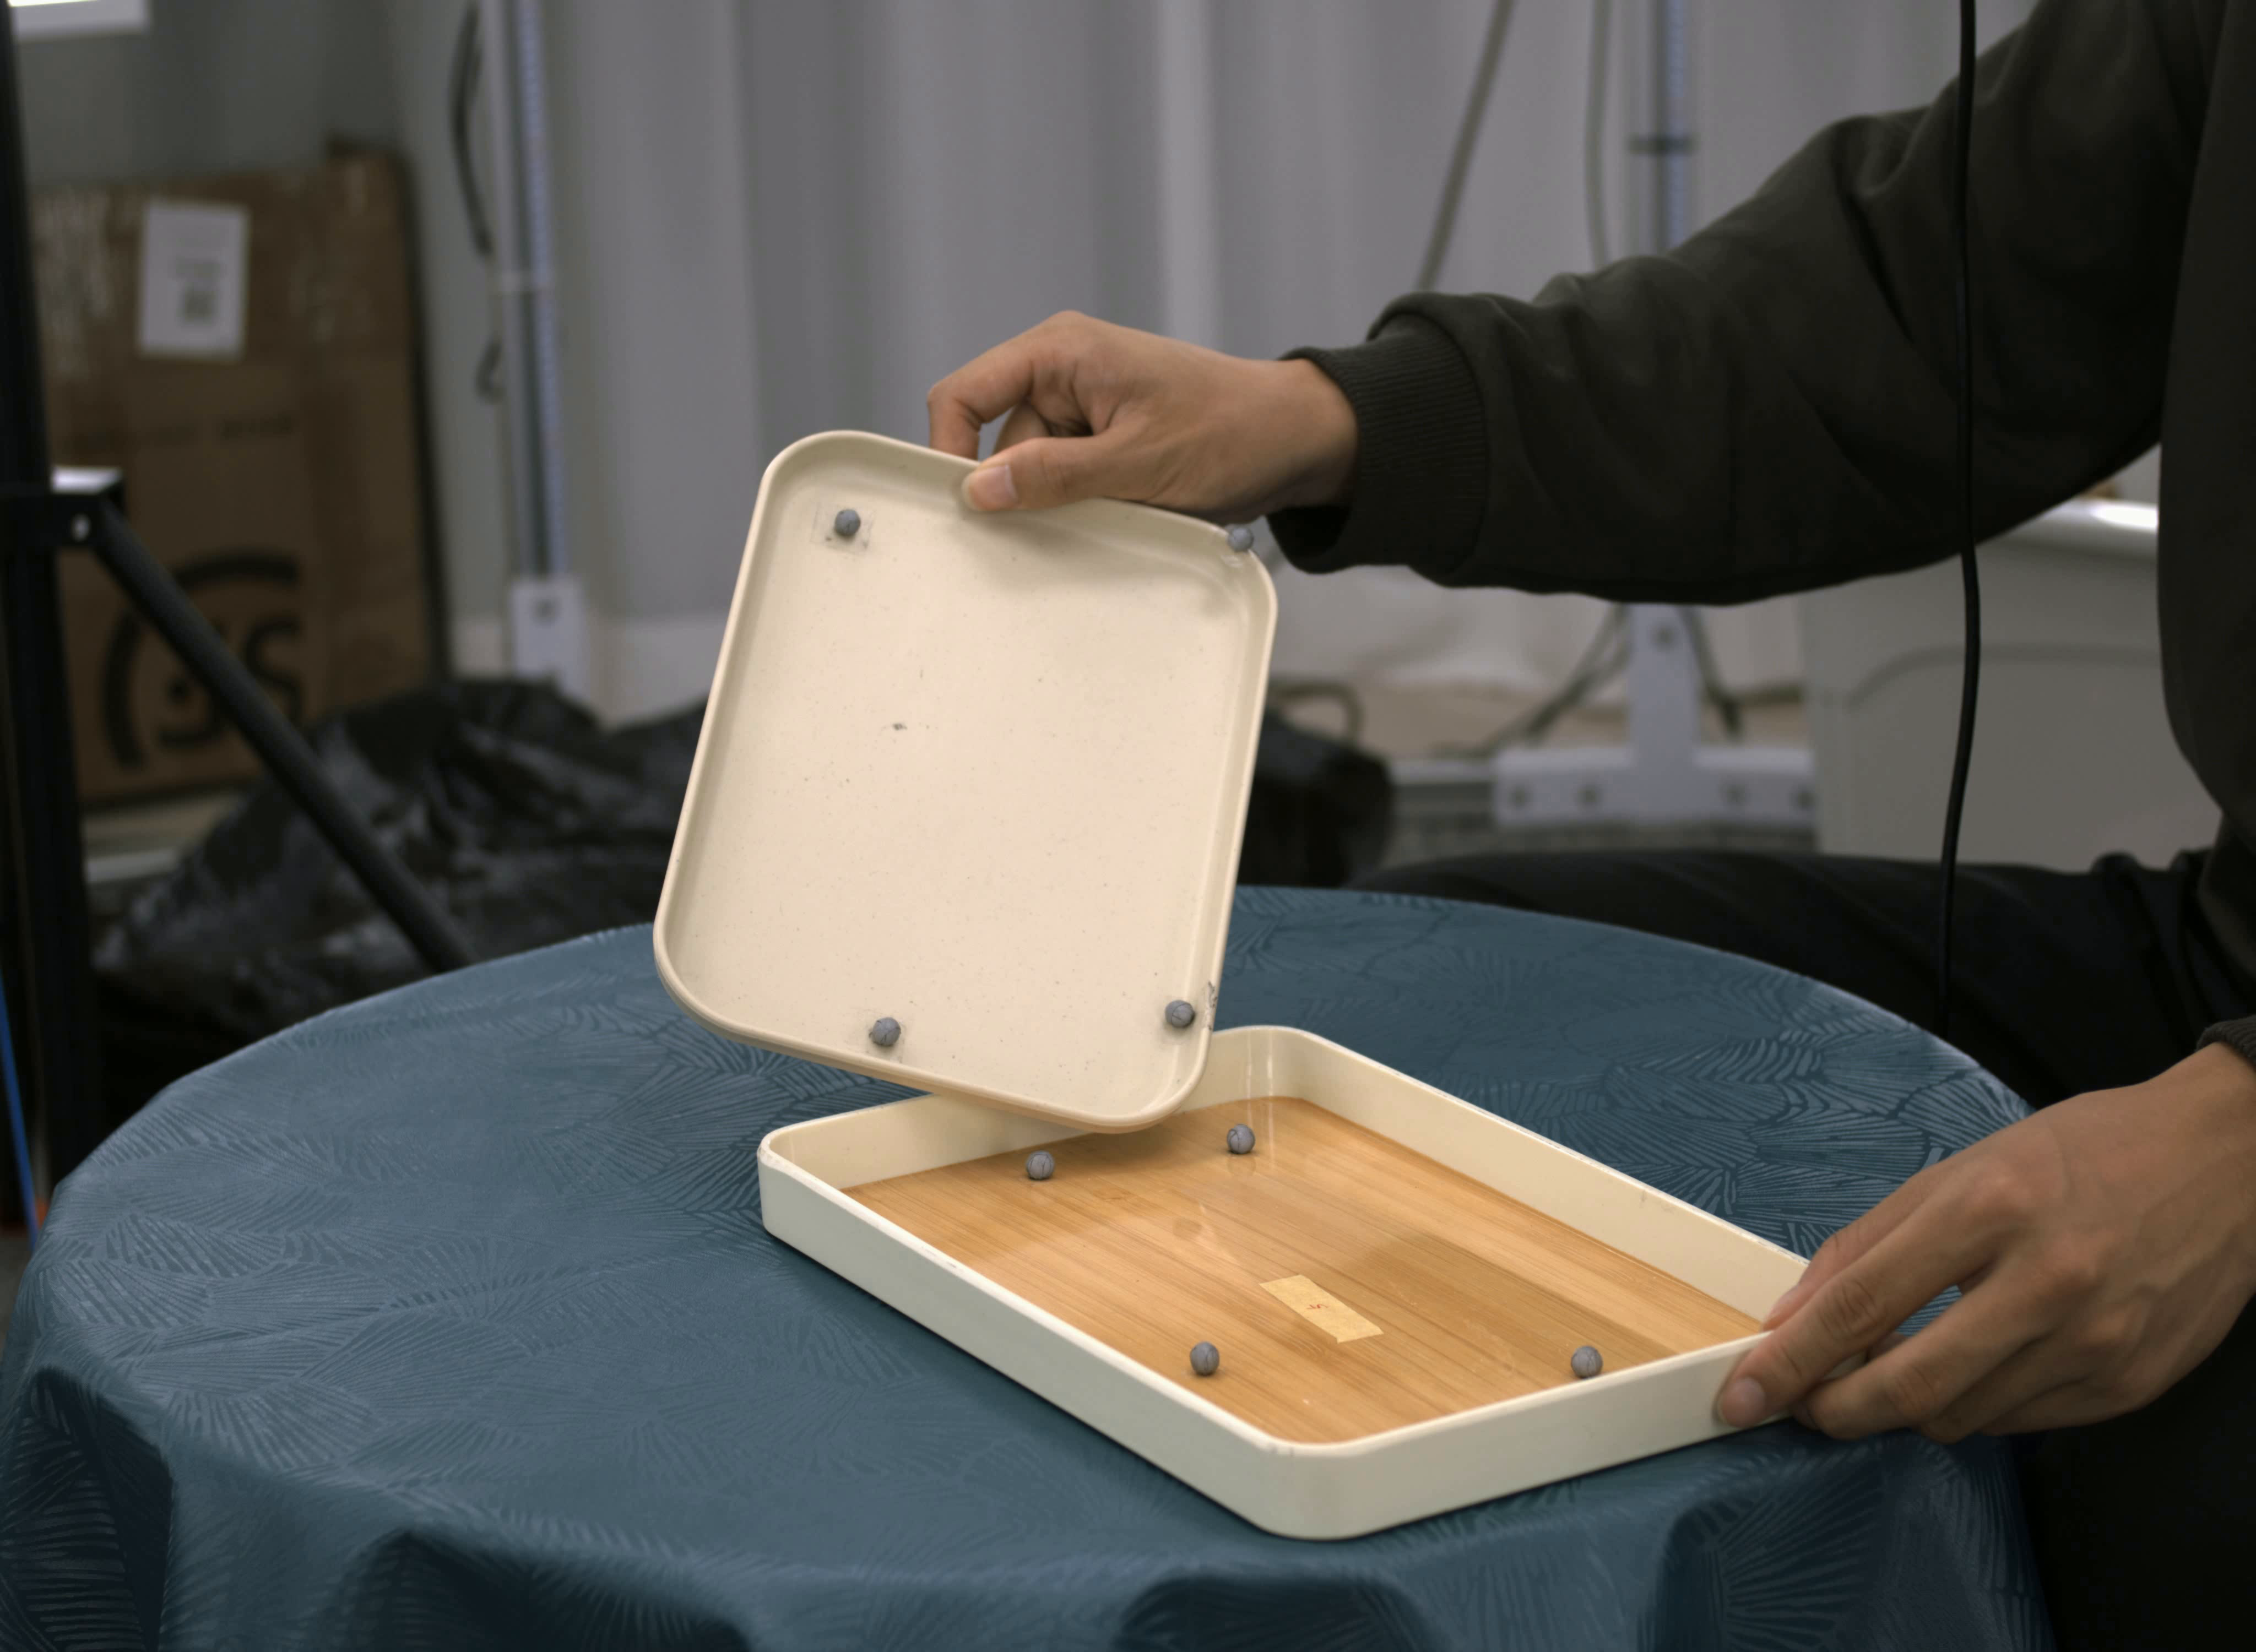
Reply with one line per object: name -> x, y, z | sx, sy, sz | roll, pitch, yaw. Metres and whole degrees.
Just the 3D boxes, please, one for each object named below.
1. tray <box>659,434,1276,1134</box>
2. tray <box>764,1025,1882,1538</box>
tray -> -0.047, -0.014, 1.638 | 0.170, 0.017, 0.241 | 13, 52, -3
tray -> 0.047, 0.120, 1.464 | 0.187, 0.027, 0.307 | -11, 18, -29
